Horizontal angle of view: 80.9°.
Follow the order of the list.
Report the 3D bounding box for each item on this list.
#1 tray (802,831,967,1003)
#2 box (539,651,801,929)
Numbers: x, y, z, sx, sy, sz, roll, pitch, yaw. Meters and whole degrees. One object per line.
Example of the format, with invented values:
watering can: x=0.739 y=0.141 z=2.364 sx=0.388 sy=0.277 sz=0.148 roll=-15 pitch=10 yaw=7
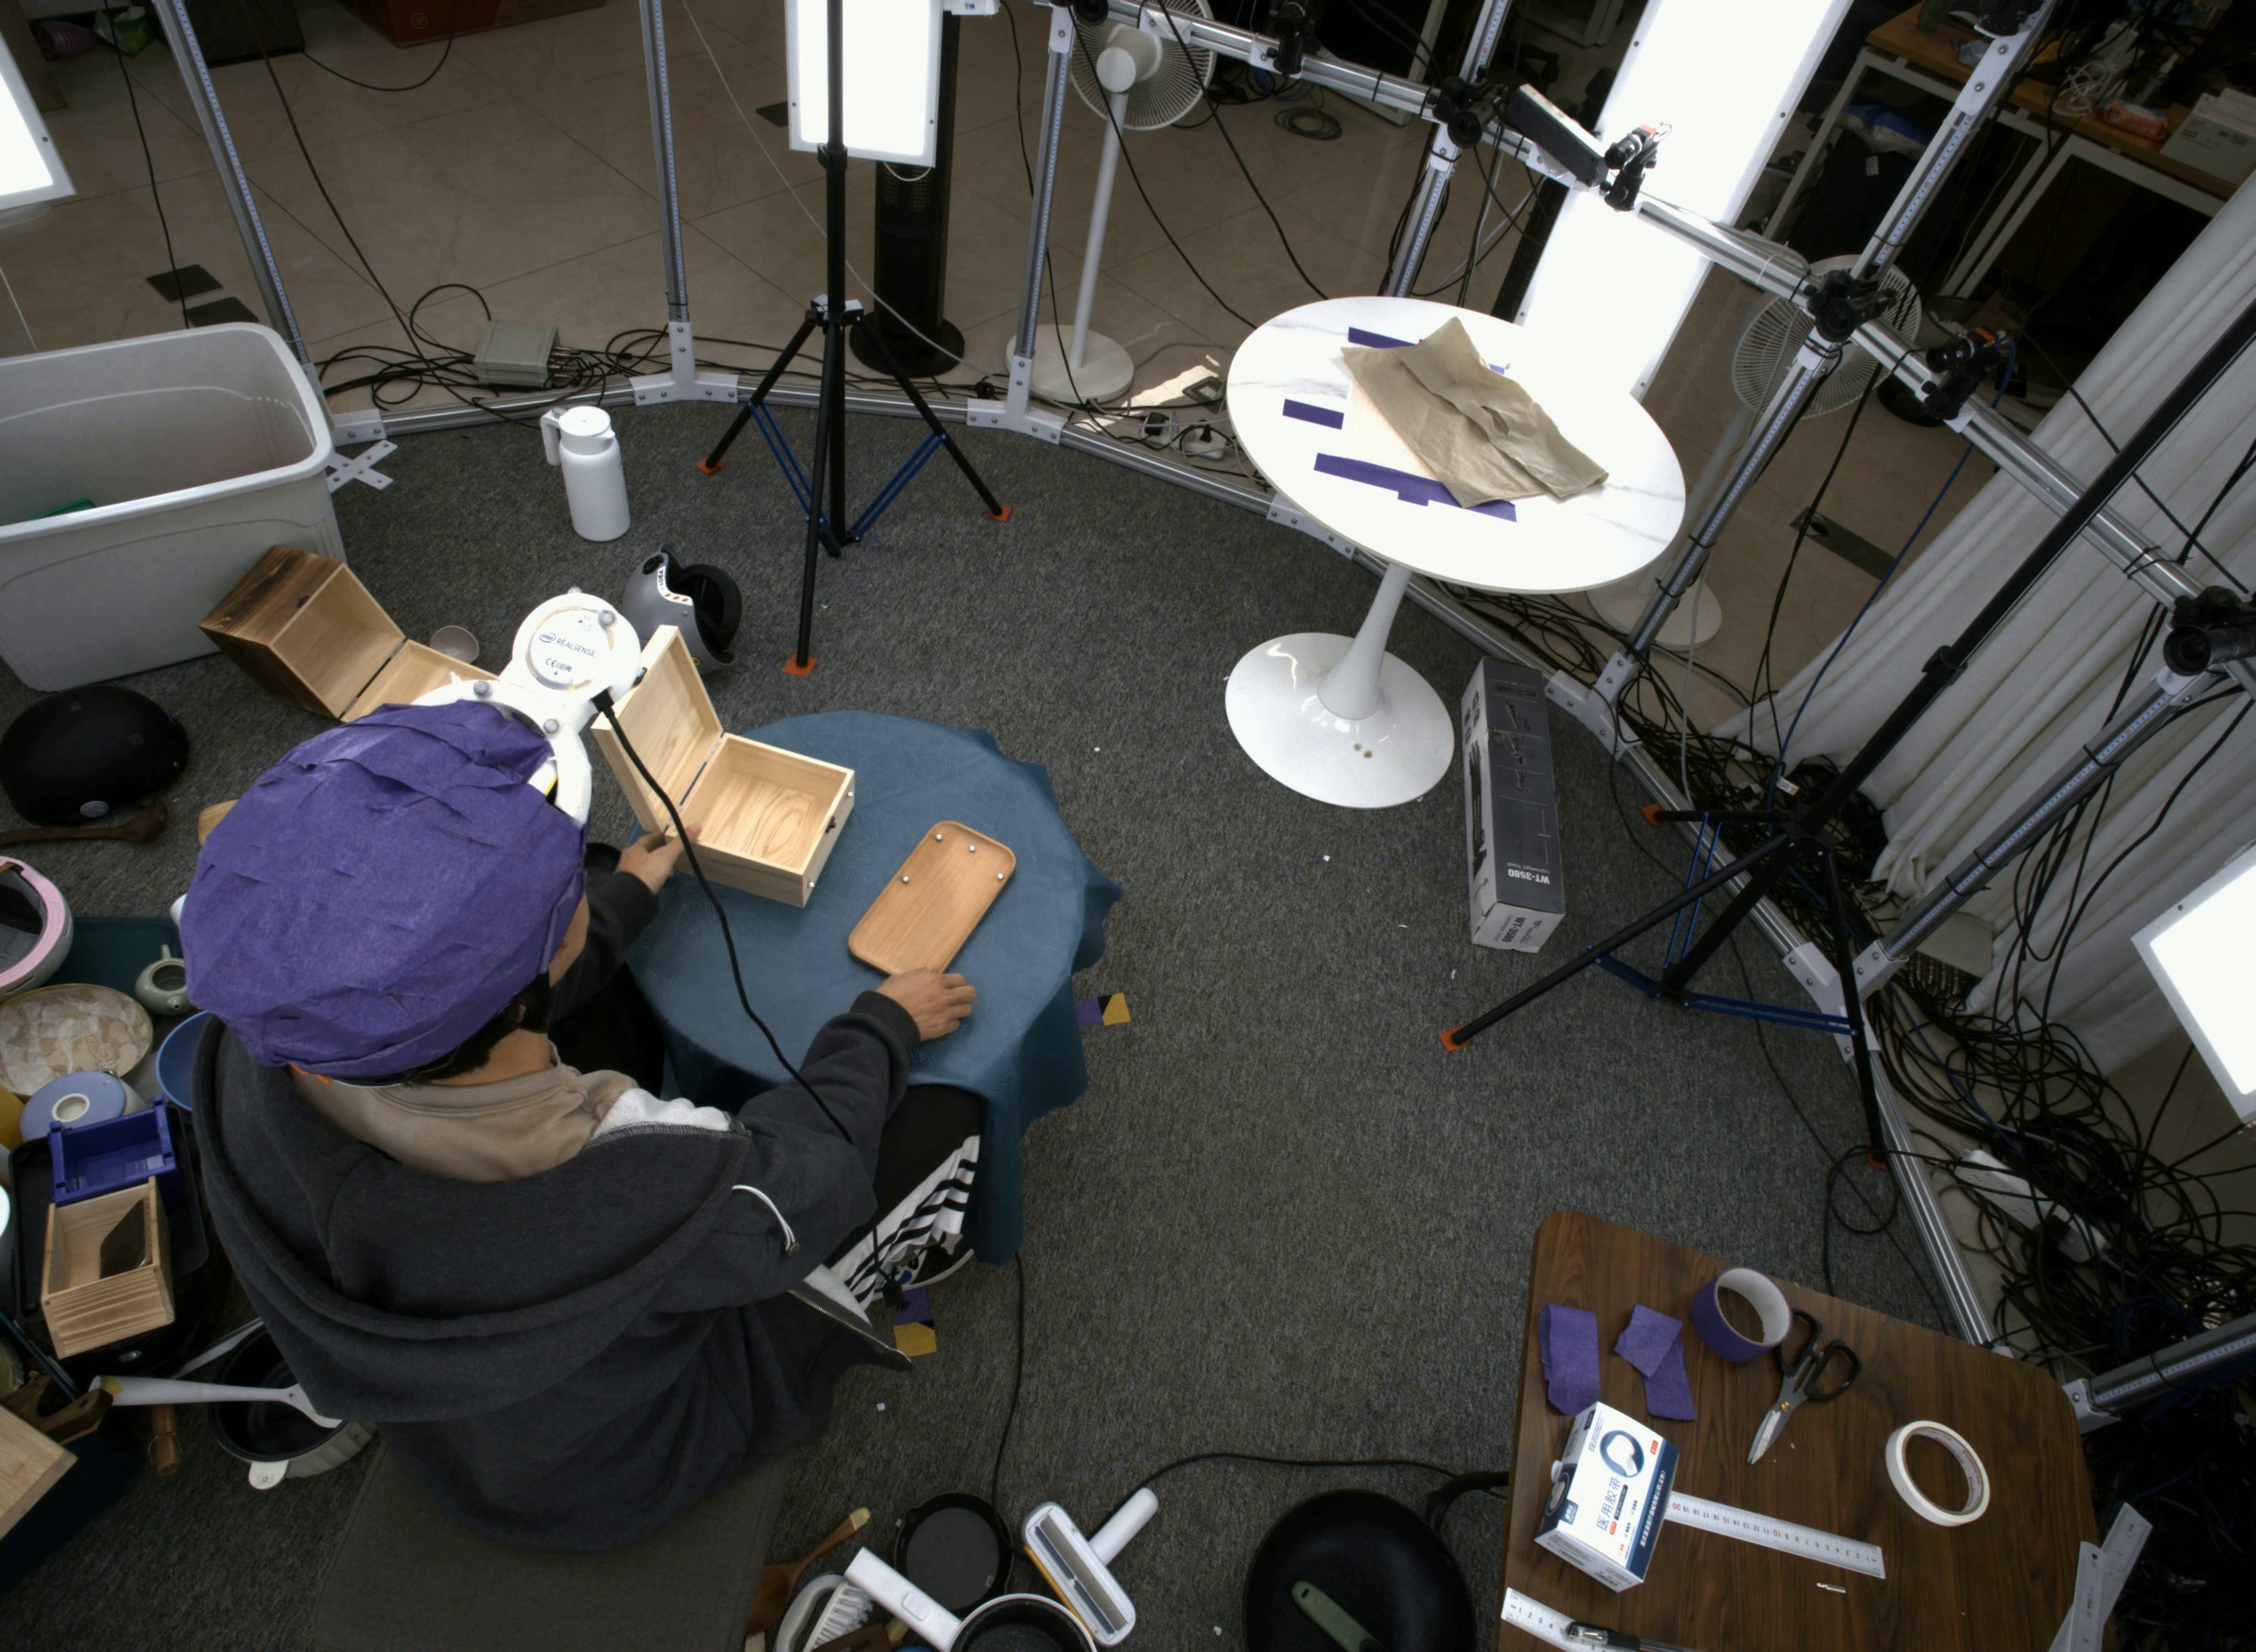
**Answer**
tray: x=-0.308 y=0.112 z=1.664 sx=0.128 sy=0.023 sz=0.249 roll=23 pitch=52 yaw=7
box: x=-0.556 y=-0.044 z=1.570 sx=0.263 sy=0.259 sz=0.179 roll=12 pitch=54 yaw=-2
